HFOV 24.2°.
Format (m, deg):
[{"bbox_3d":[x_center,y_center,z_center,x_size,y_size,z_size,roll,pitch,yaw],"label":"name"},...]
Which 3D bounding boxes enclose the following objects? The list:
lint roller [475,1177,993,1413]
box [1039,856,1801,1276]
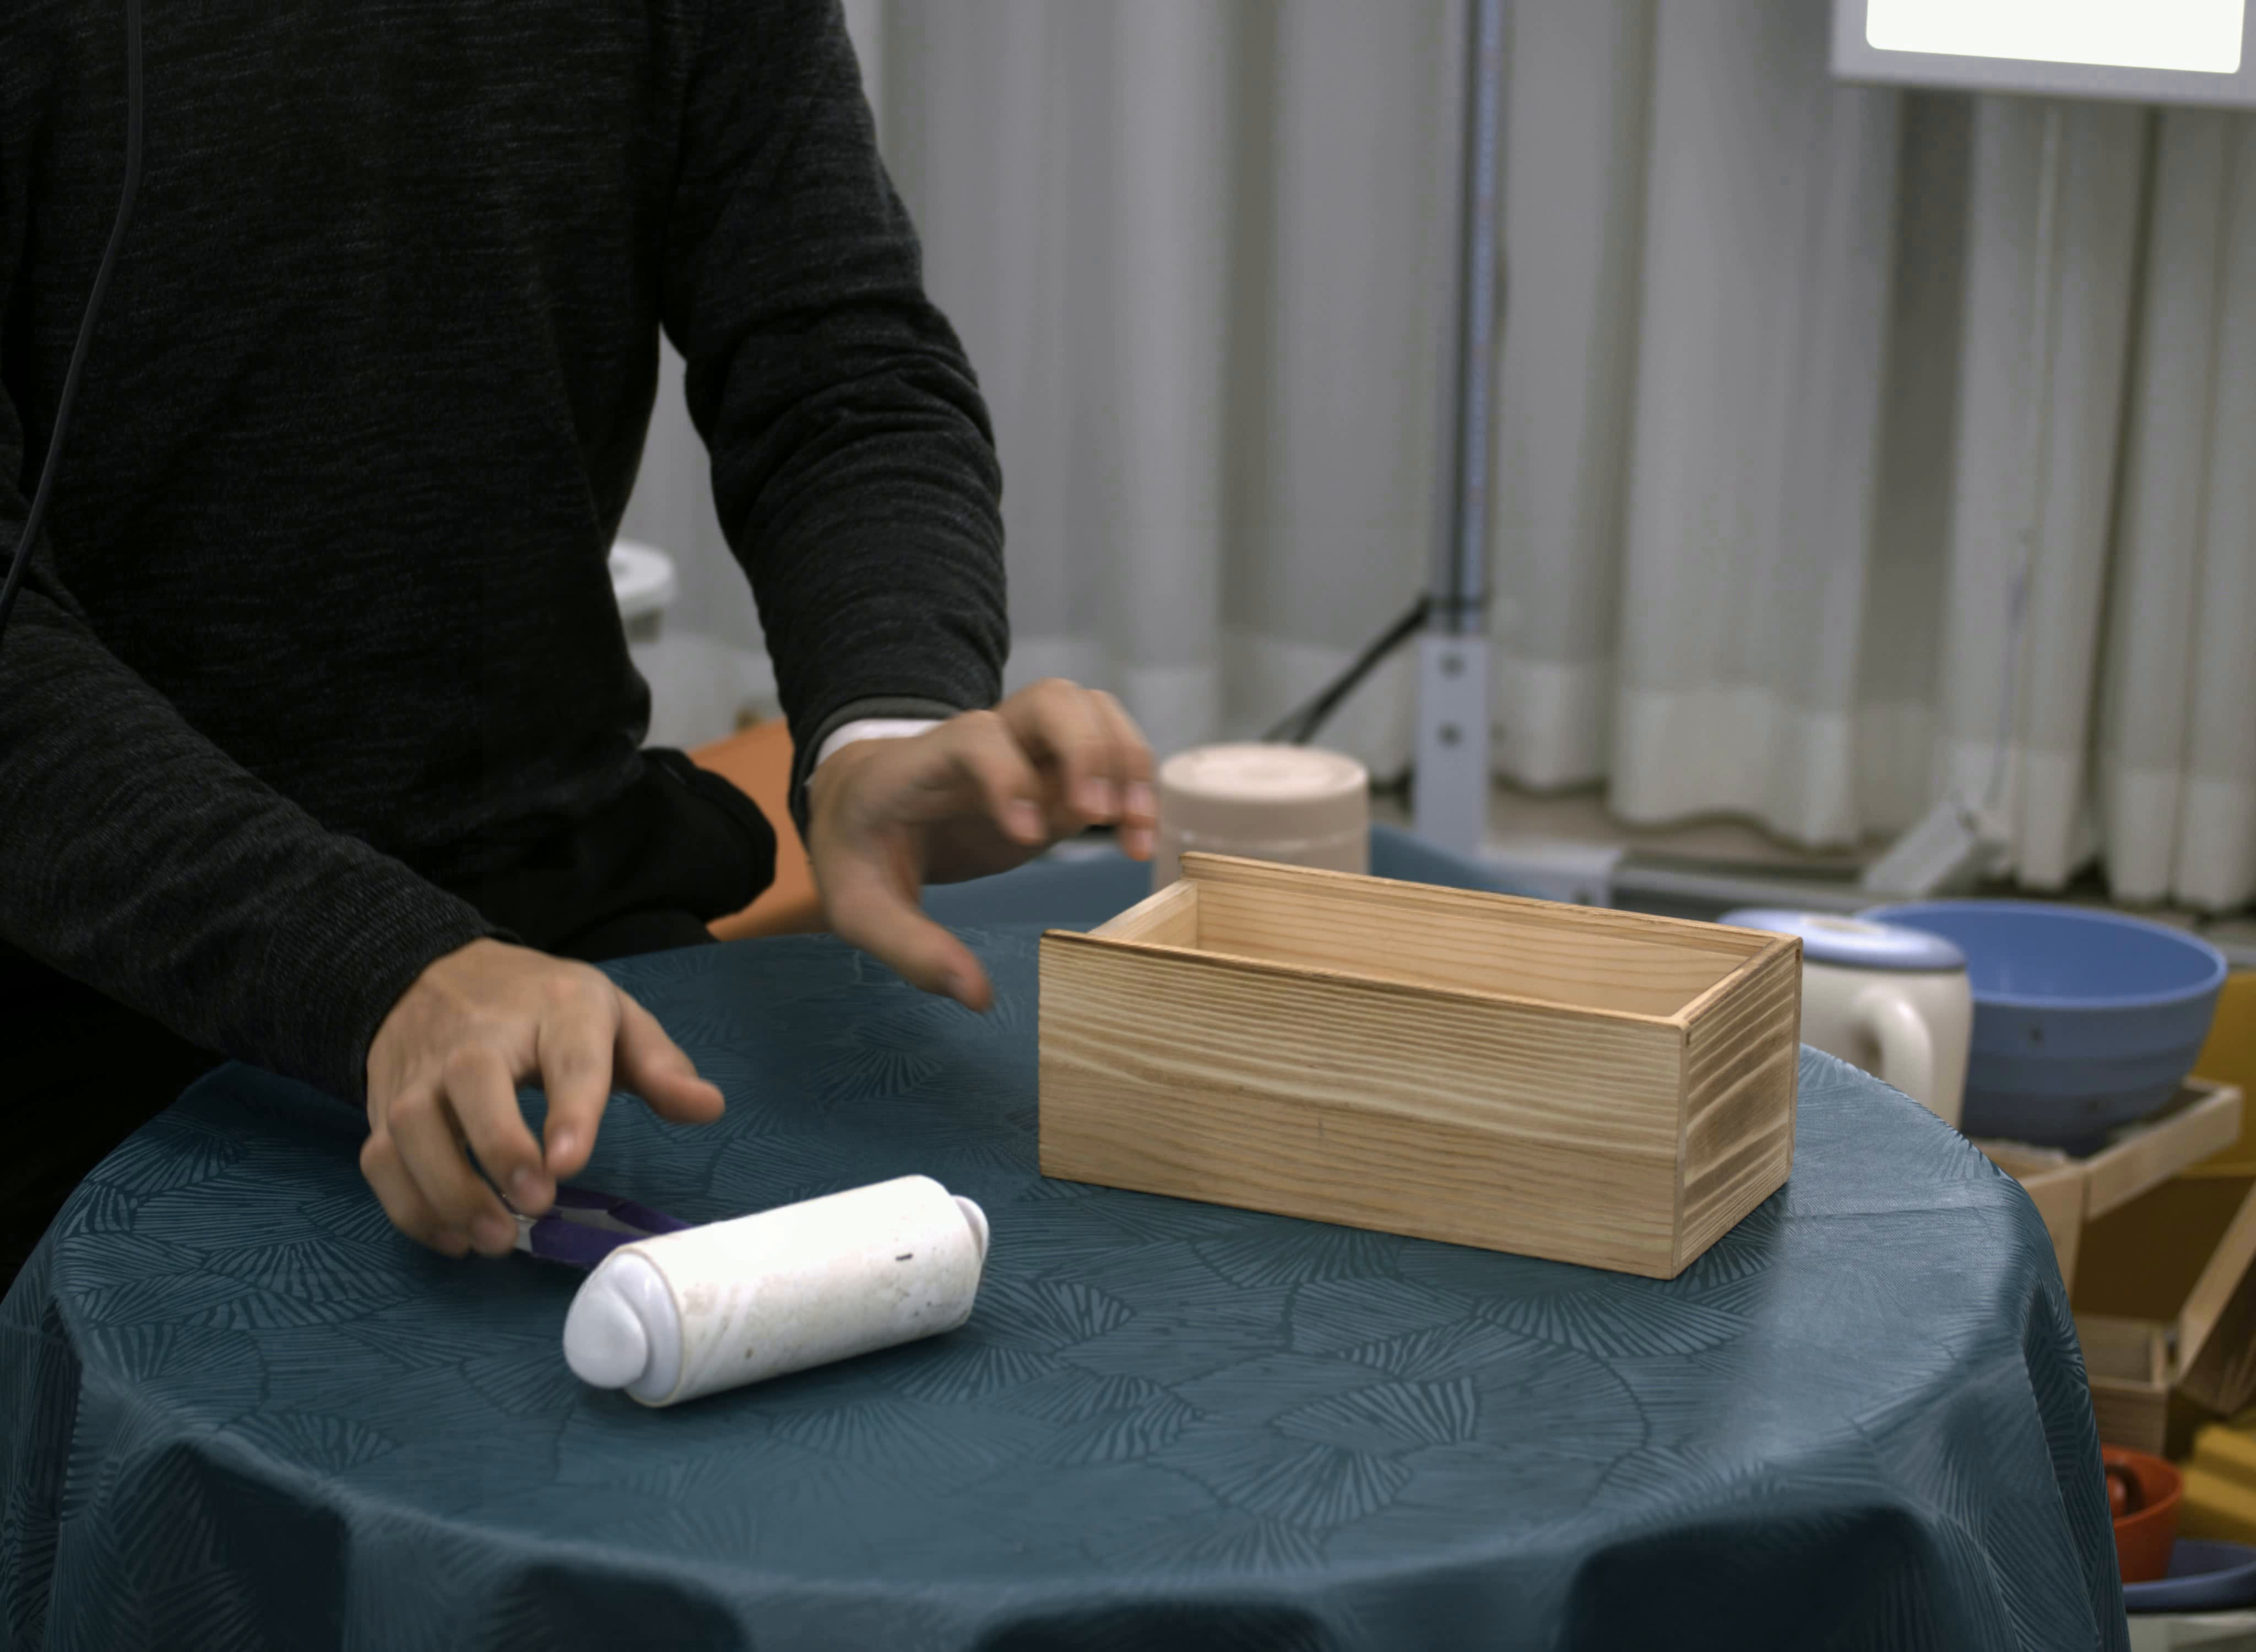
[{"bbox_3d":[-0.134,0.115,1.519,0.133,0.050,0.178,-12,22,-35],"label":"lint roller"},{"bbox_3d":[0.090,0.071,1.623,0.209,0.081,0.108,7,17,24],"label":"box"}]
